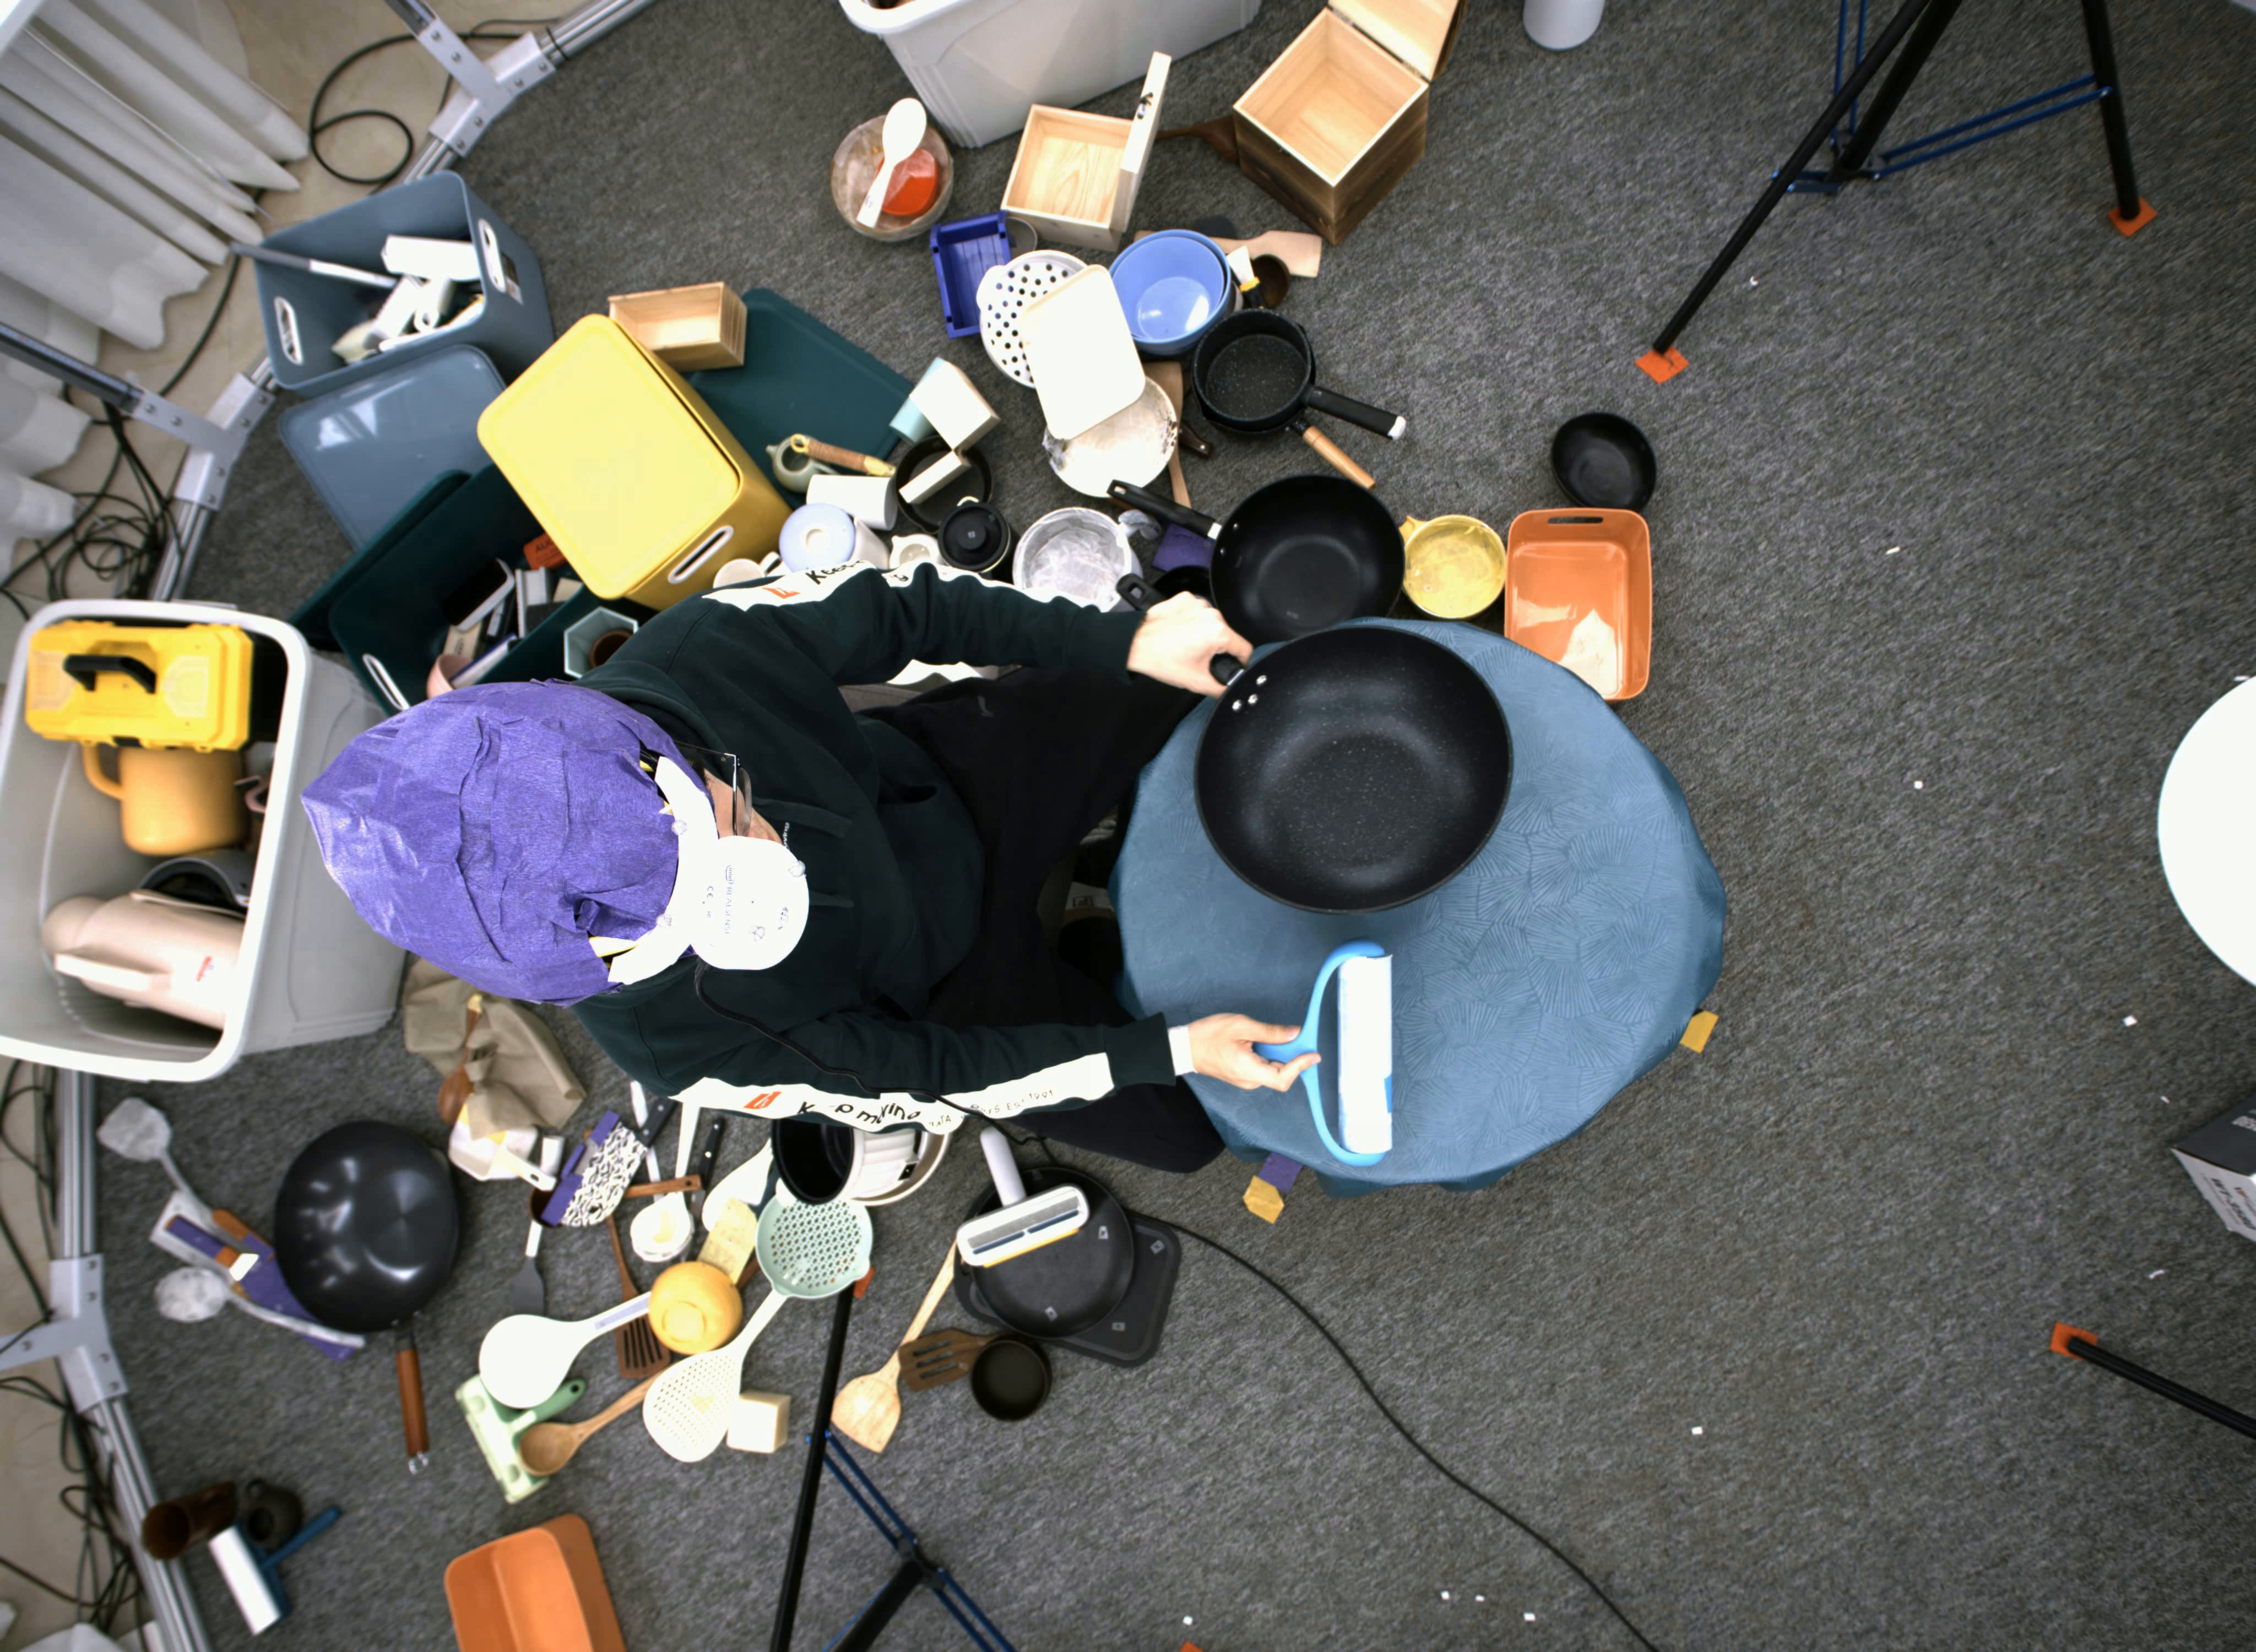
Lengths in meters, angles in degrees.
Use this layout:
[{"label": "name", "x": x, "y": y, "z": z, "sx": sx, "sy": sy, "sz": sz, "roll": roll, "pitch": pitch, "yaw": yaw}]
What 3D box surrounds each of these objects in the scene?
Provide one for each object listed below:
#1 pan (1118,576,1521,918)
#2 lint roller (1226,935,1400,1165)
[{"label": "pan", "x": 0.168, "y": -0.096, "z": 1.383, "sx": 0.309, "sy": 0.113, "sz": 0.472, "roll": -46, "pitch": 64, "yaw": -6}, {"label": "lint roller", "x": 0.182, "y": 0.226, "z": 1.390, "sx": 0.181, "sy": 0.067, "sz": 0.229, "roll": -4, "pitch": 95, "yaw": 17}]
